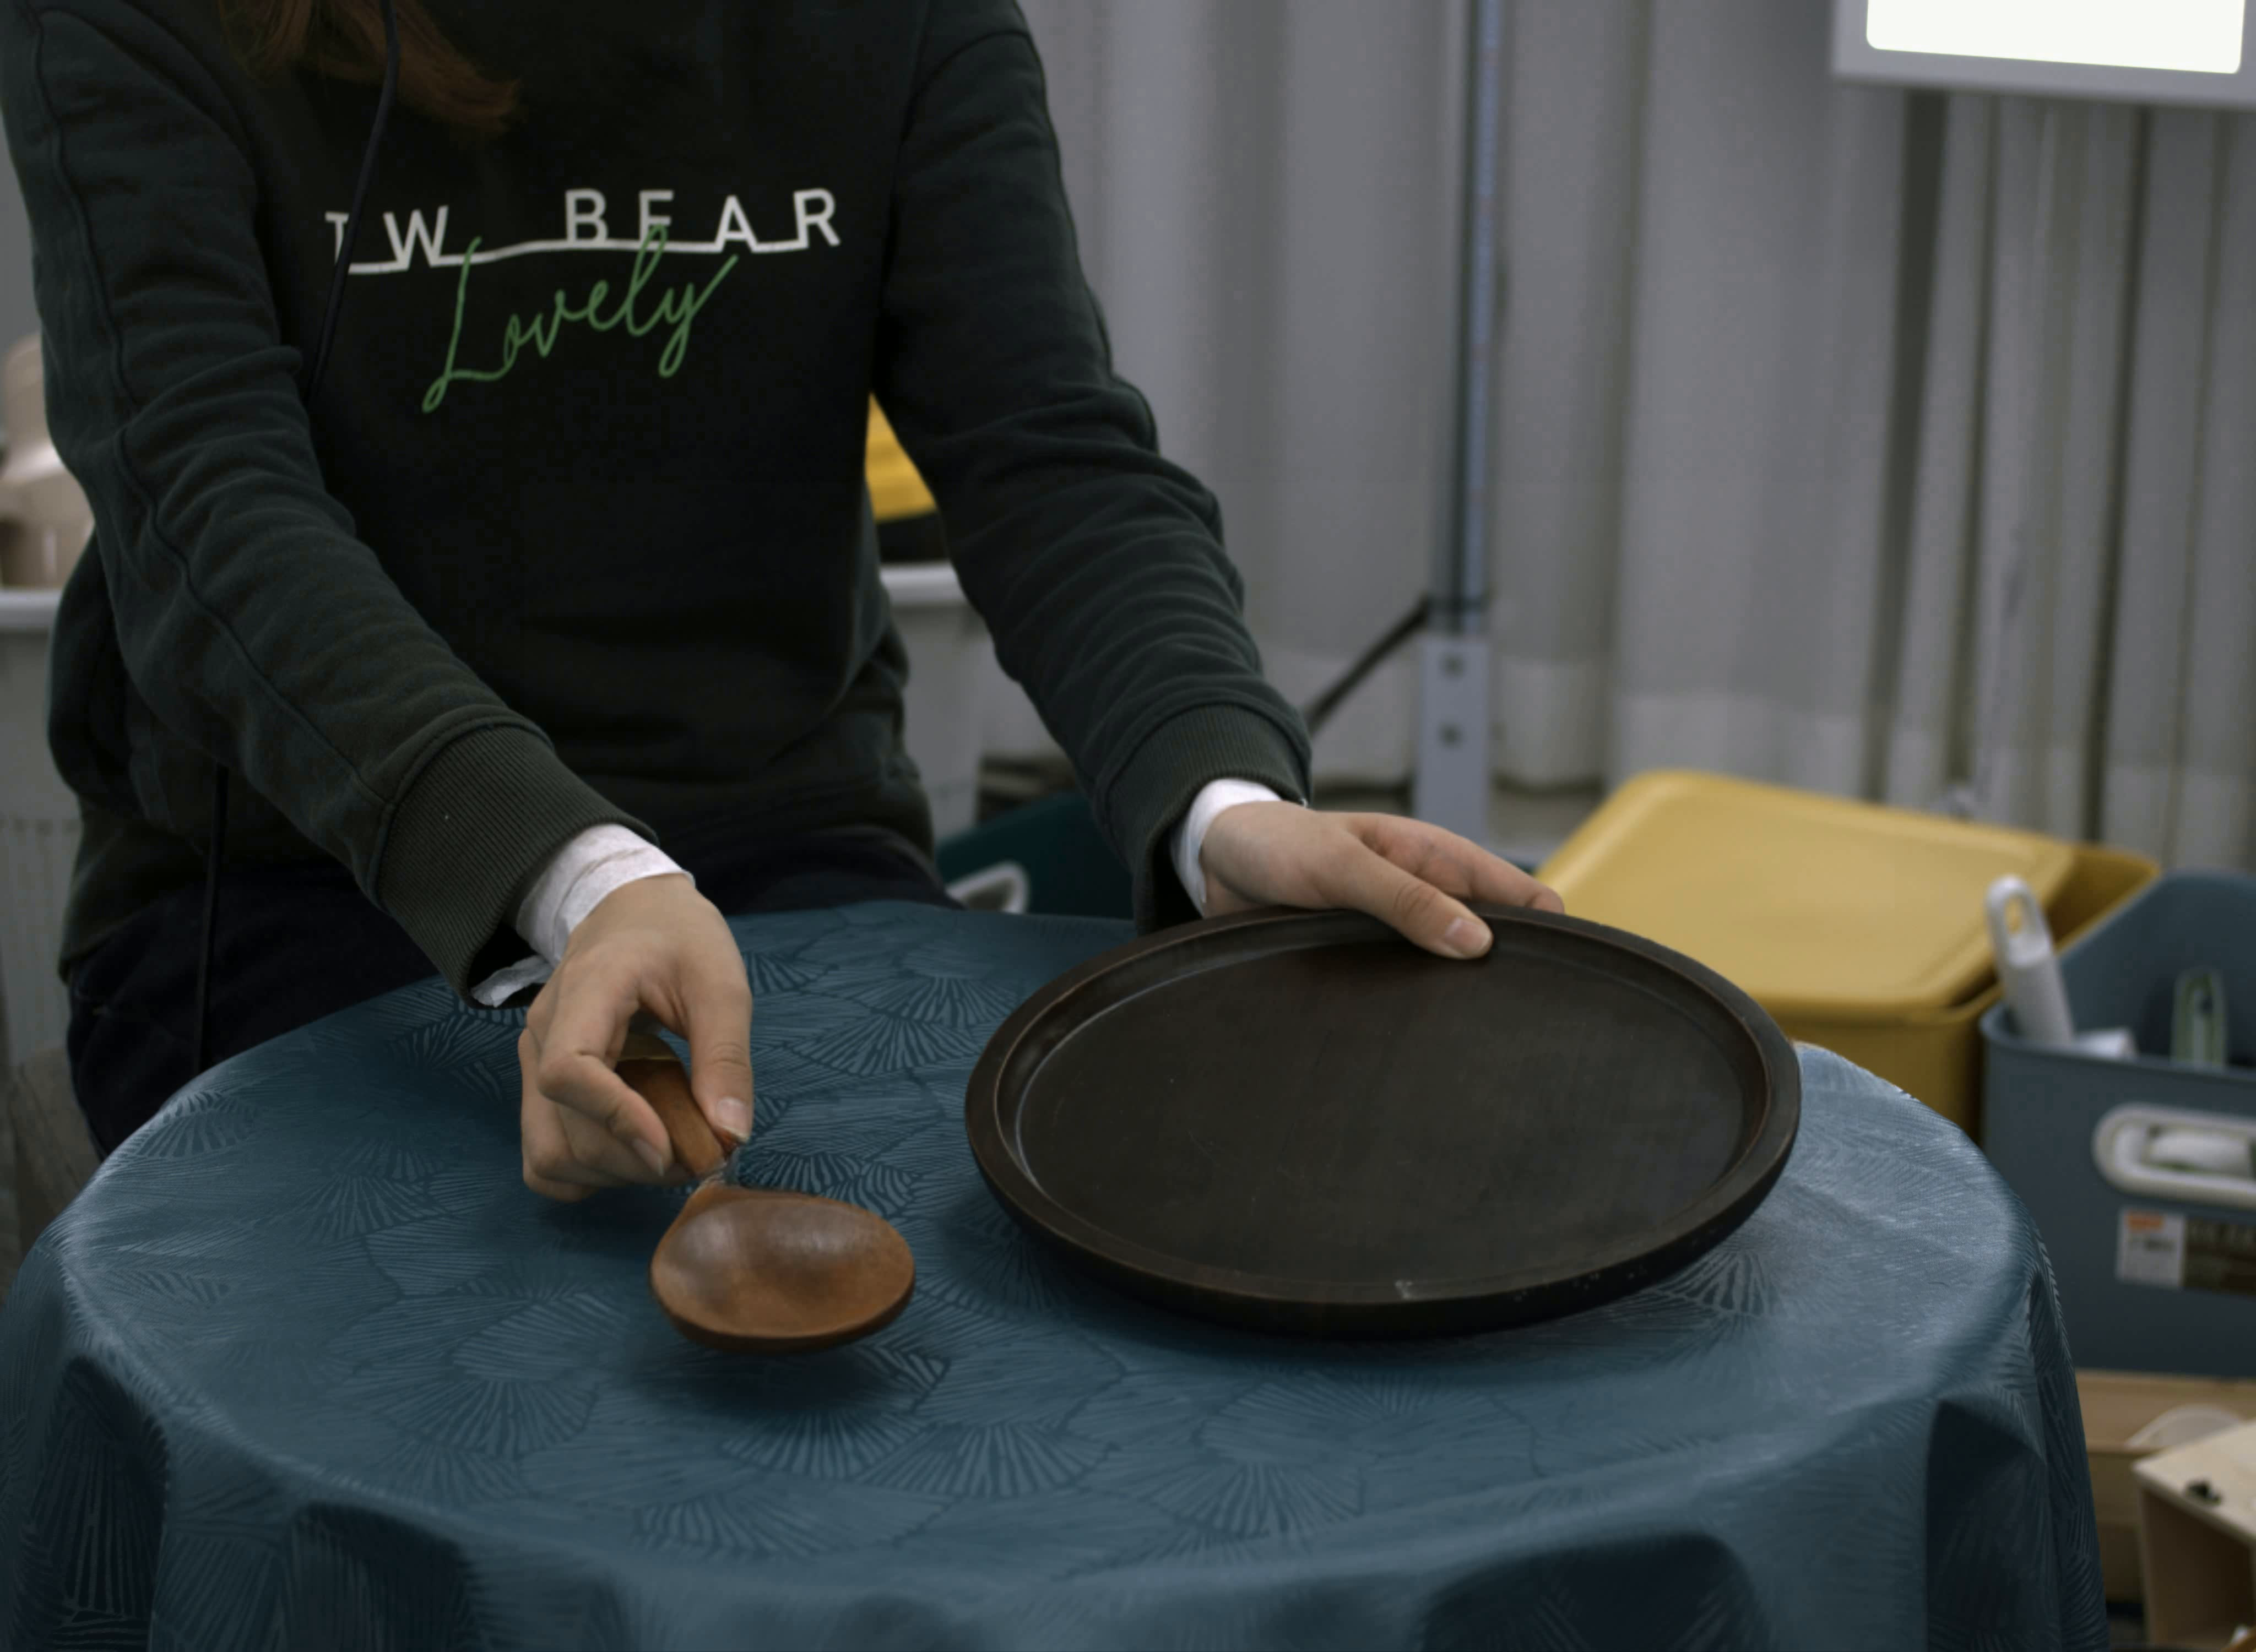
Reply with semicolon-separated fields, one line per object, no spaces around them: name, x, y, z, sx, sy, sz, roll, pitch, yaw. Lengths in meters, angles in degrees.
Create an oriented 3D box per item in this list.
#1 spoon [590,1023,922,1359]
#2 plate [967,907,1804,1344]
spoon;-0.118;0.106;1.532;0.075;0.017;0.213;-12;26;-17
plate;0.077;0.087;1.592;0.254;0.029;0.253;0;27;1
